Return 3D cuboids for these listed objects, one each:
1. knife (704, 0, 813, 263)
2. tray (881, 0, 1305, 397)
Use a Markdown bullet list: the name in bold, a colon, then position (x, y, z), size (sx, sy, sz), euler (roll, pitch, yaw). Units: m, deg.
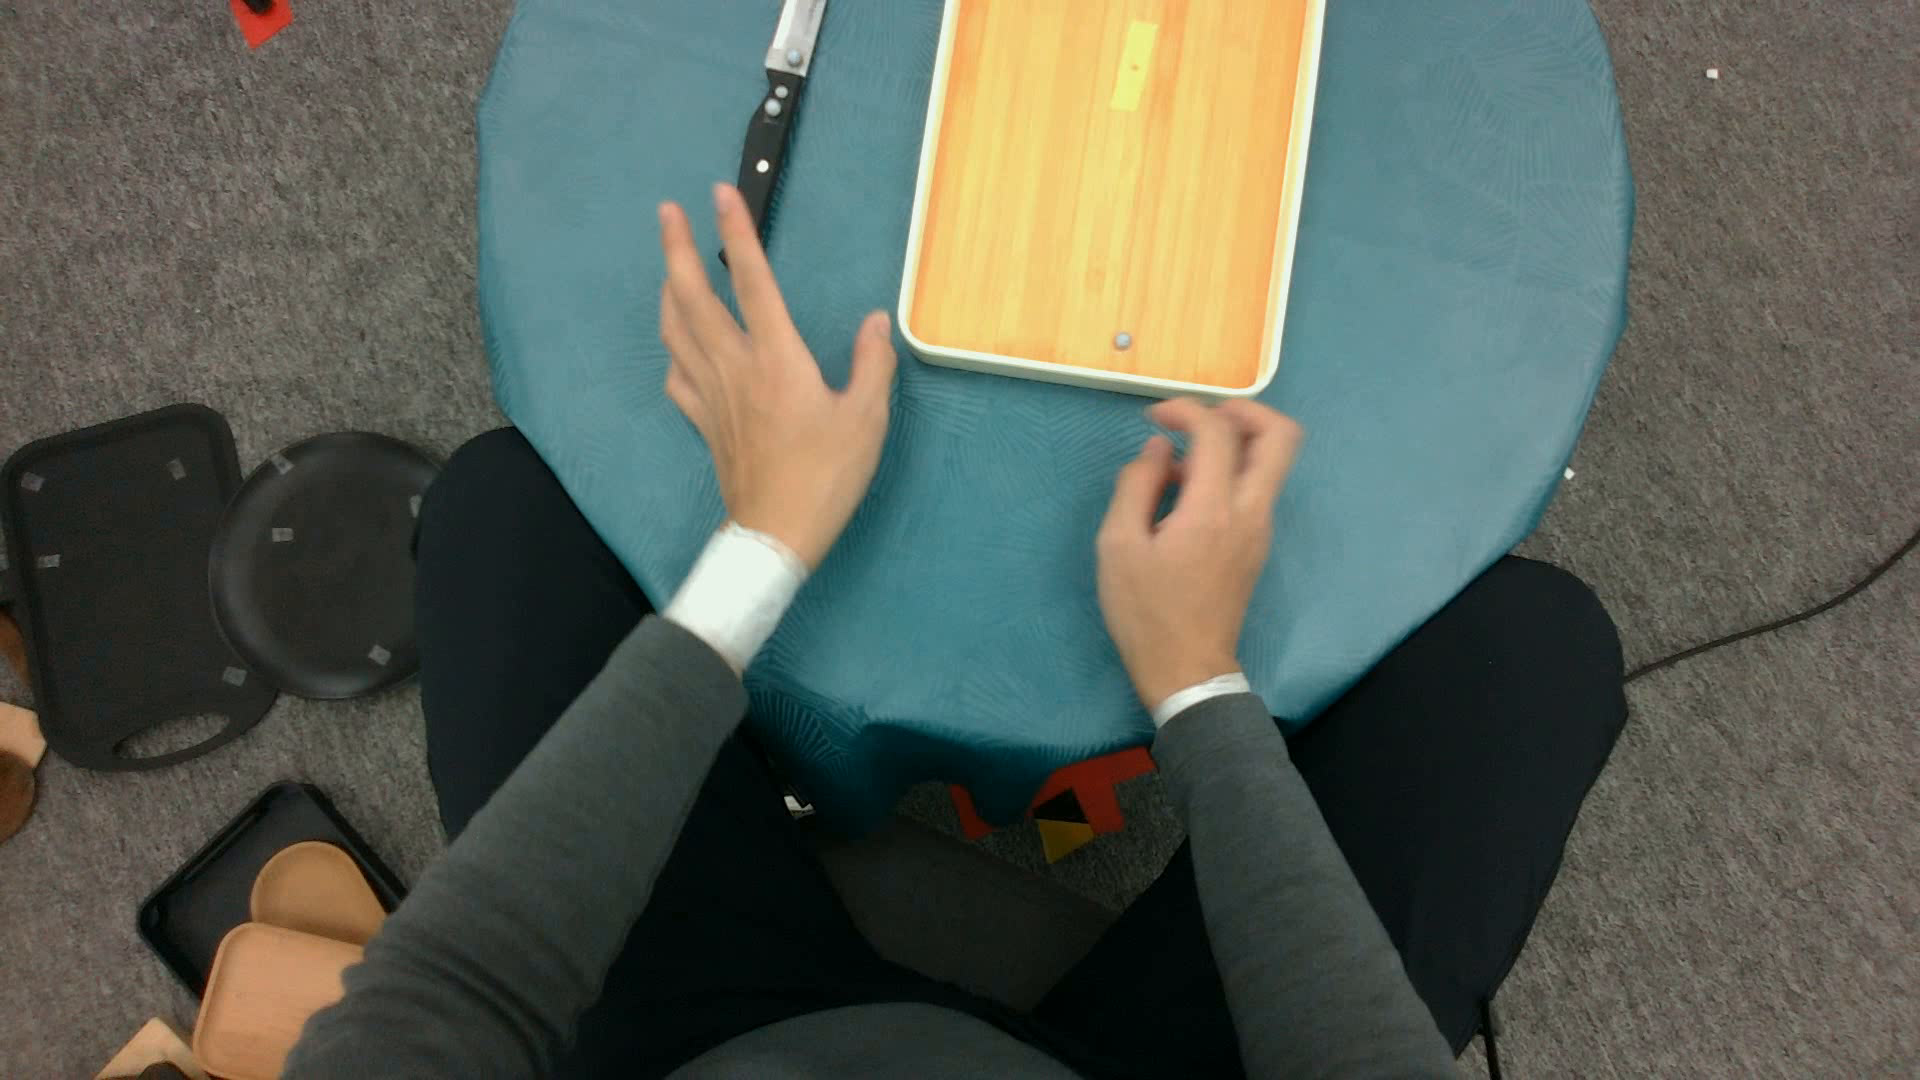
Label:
- **knife**: position (-0.096, -0.255, 0.725), size (0.024, 0.016, 0.238), euler (13, 78, -1)
- **tray**: position (0.075, -0.231, 0.712), size (0.191, 0.027, 0.300), euler (9, 81, 3)
